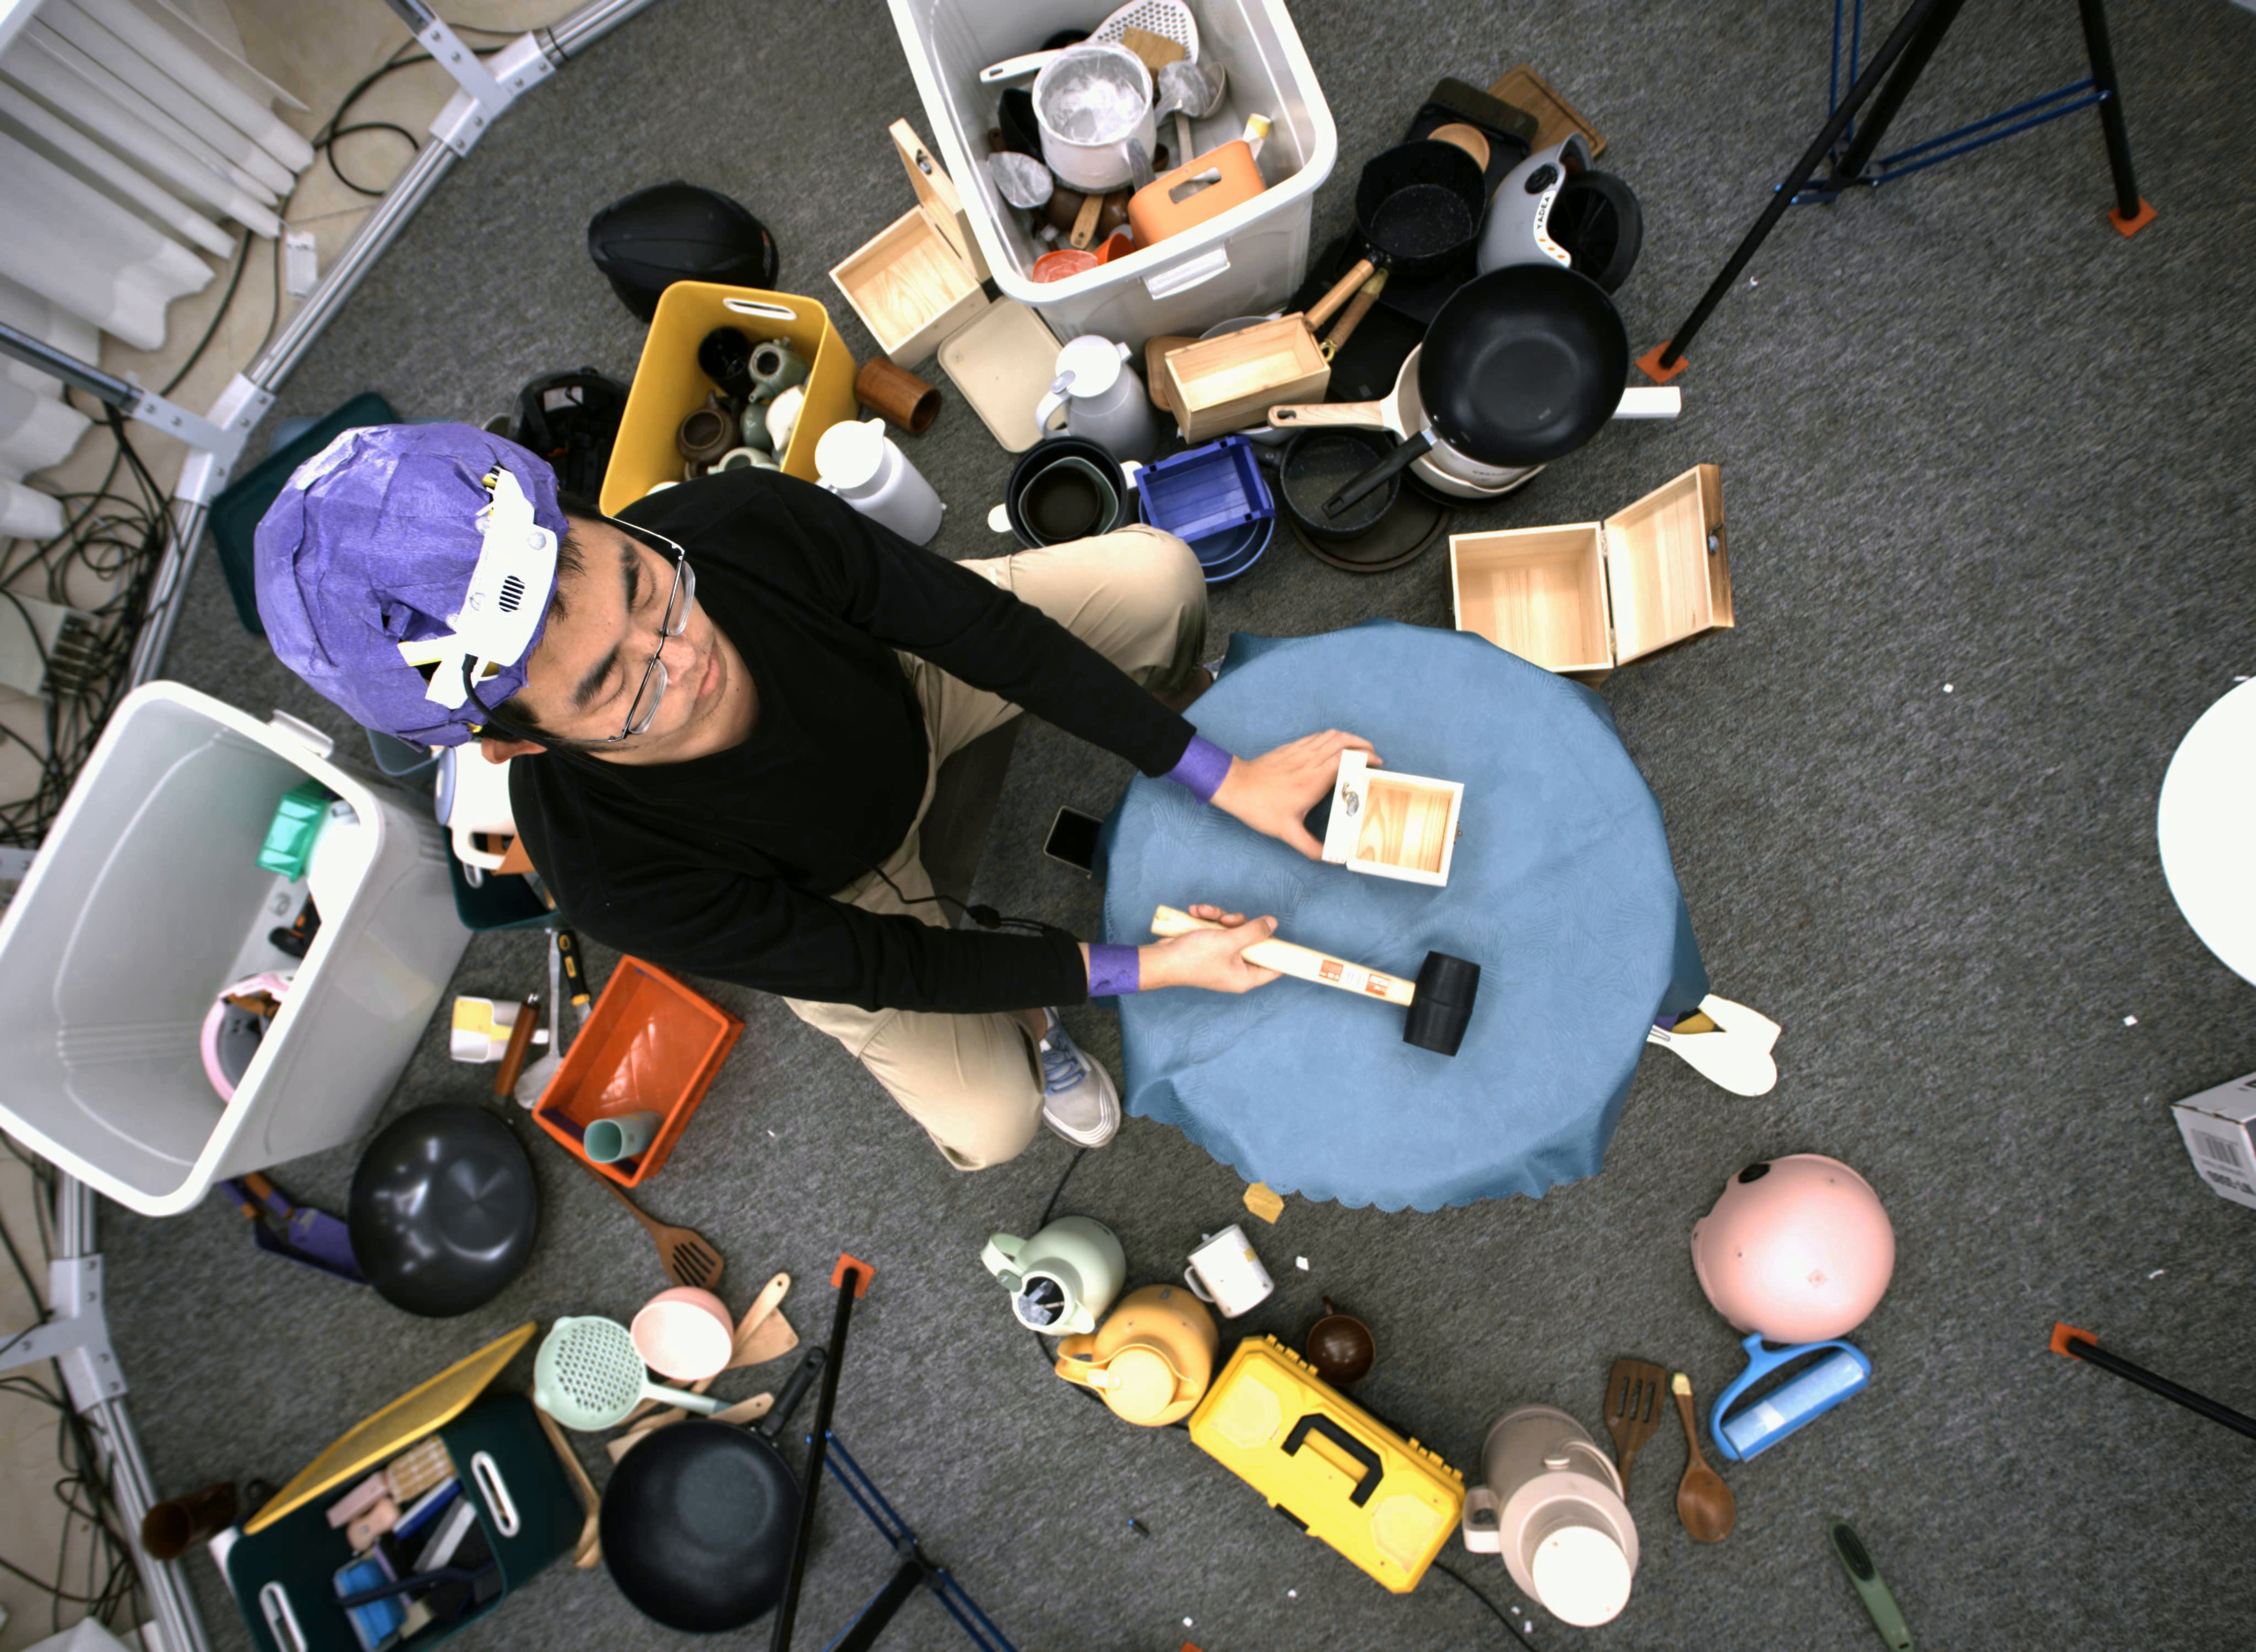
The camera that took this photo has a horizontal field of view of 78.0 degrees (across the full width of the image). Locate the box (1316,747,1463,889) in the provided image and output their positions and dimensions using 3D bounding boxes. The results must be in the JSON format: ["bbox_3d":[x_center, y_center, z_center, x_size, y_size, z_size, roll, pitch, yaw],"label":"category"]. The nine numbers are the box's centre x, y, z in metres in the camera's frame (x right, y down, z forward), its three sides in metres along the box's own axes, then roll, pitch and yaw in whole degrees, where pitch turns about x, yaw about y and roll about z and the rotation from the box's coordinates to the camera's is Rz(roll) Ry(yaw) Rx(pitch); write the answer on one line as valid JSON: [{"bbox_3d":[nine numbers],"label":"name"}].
[{"bbox_3d":[0.265,-0.006,1.375,0.134,0.185,0.102,10,86,14],"label":"box"}]

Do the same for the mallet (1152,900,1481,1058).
[{"bbox_3d":[0.190,0.140,1.422,0.339,0.064,0.101,18,86,4],"label":"mallet"}]
